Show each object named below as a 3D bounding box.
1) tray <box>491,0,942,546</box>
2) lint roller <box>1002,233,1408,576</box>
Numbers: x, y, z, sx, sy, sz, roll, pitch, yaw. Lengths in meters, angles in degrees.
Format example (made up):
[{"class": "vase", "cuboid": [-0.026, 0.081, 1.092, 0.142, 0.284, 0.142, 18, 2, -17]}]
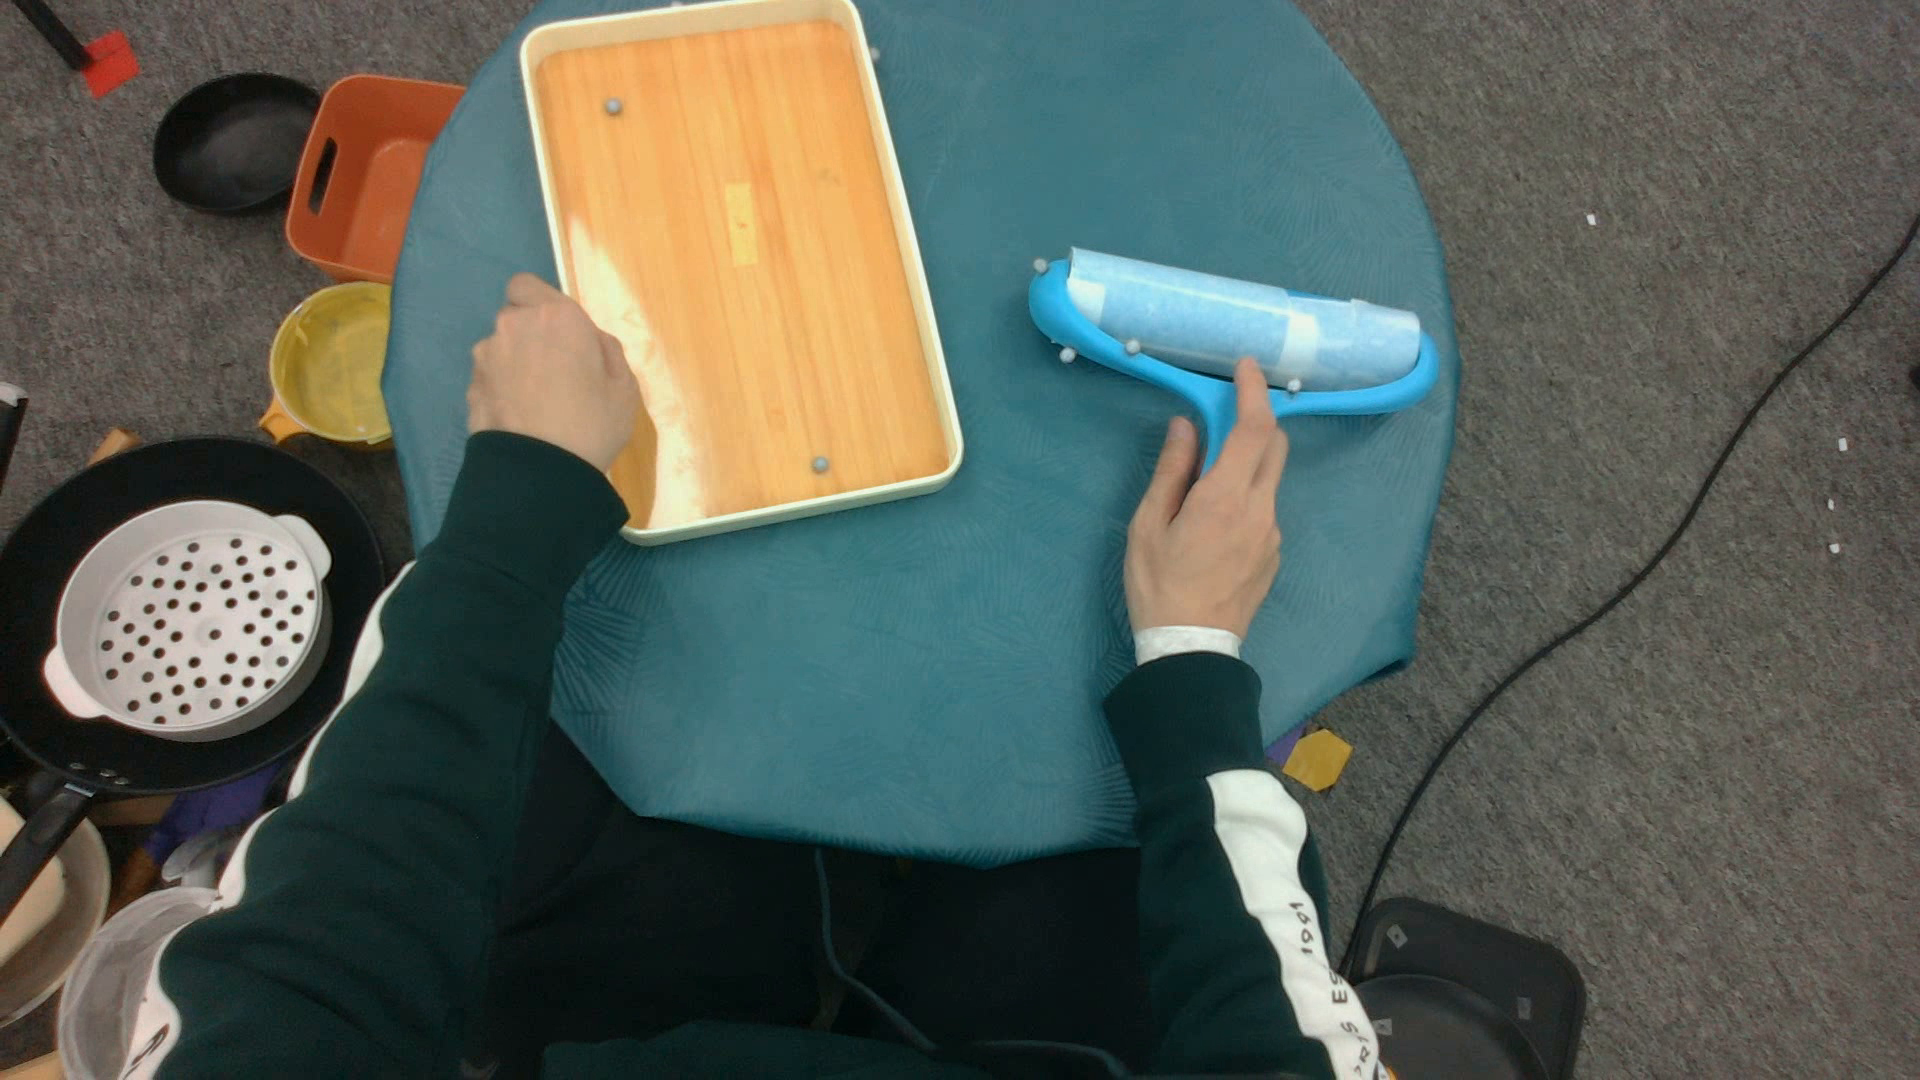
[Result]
[{"class": "tray", "cuboid": [-0.135, -0.157, 0.755, 0.192, 0.027, 0.301, -12, 77, -11]}, {"class": "lint roller", "cuboid": [0.133, -0.074, 0.750, 0.229, 0.068, 0.180, 5, 74, -7]}]
